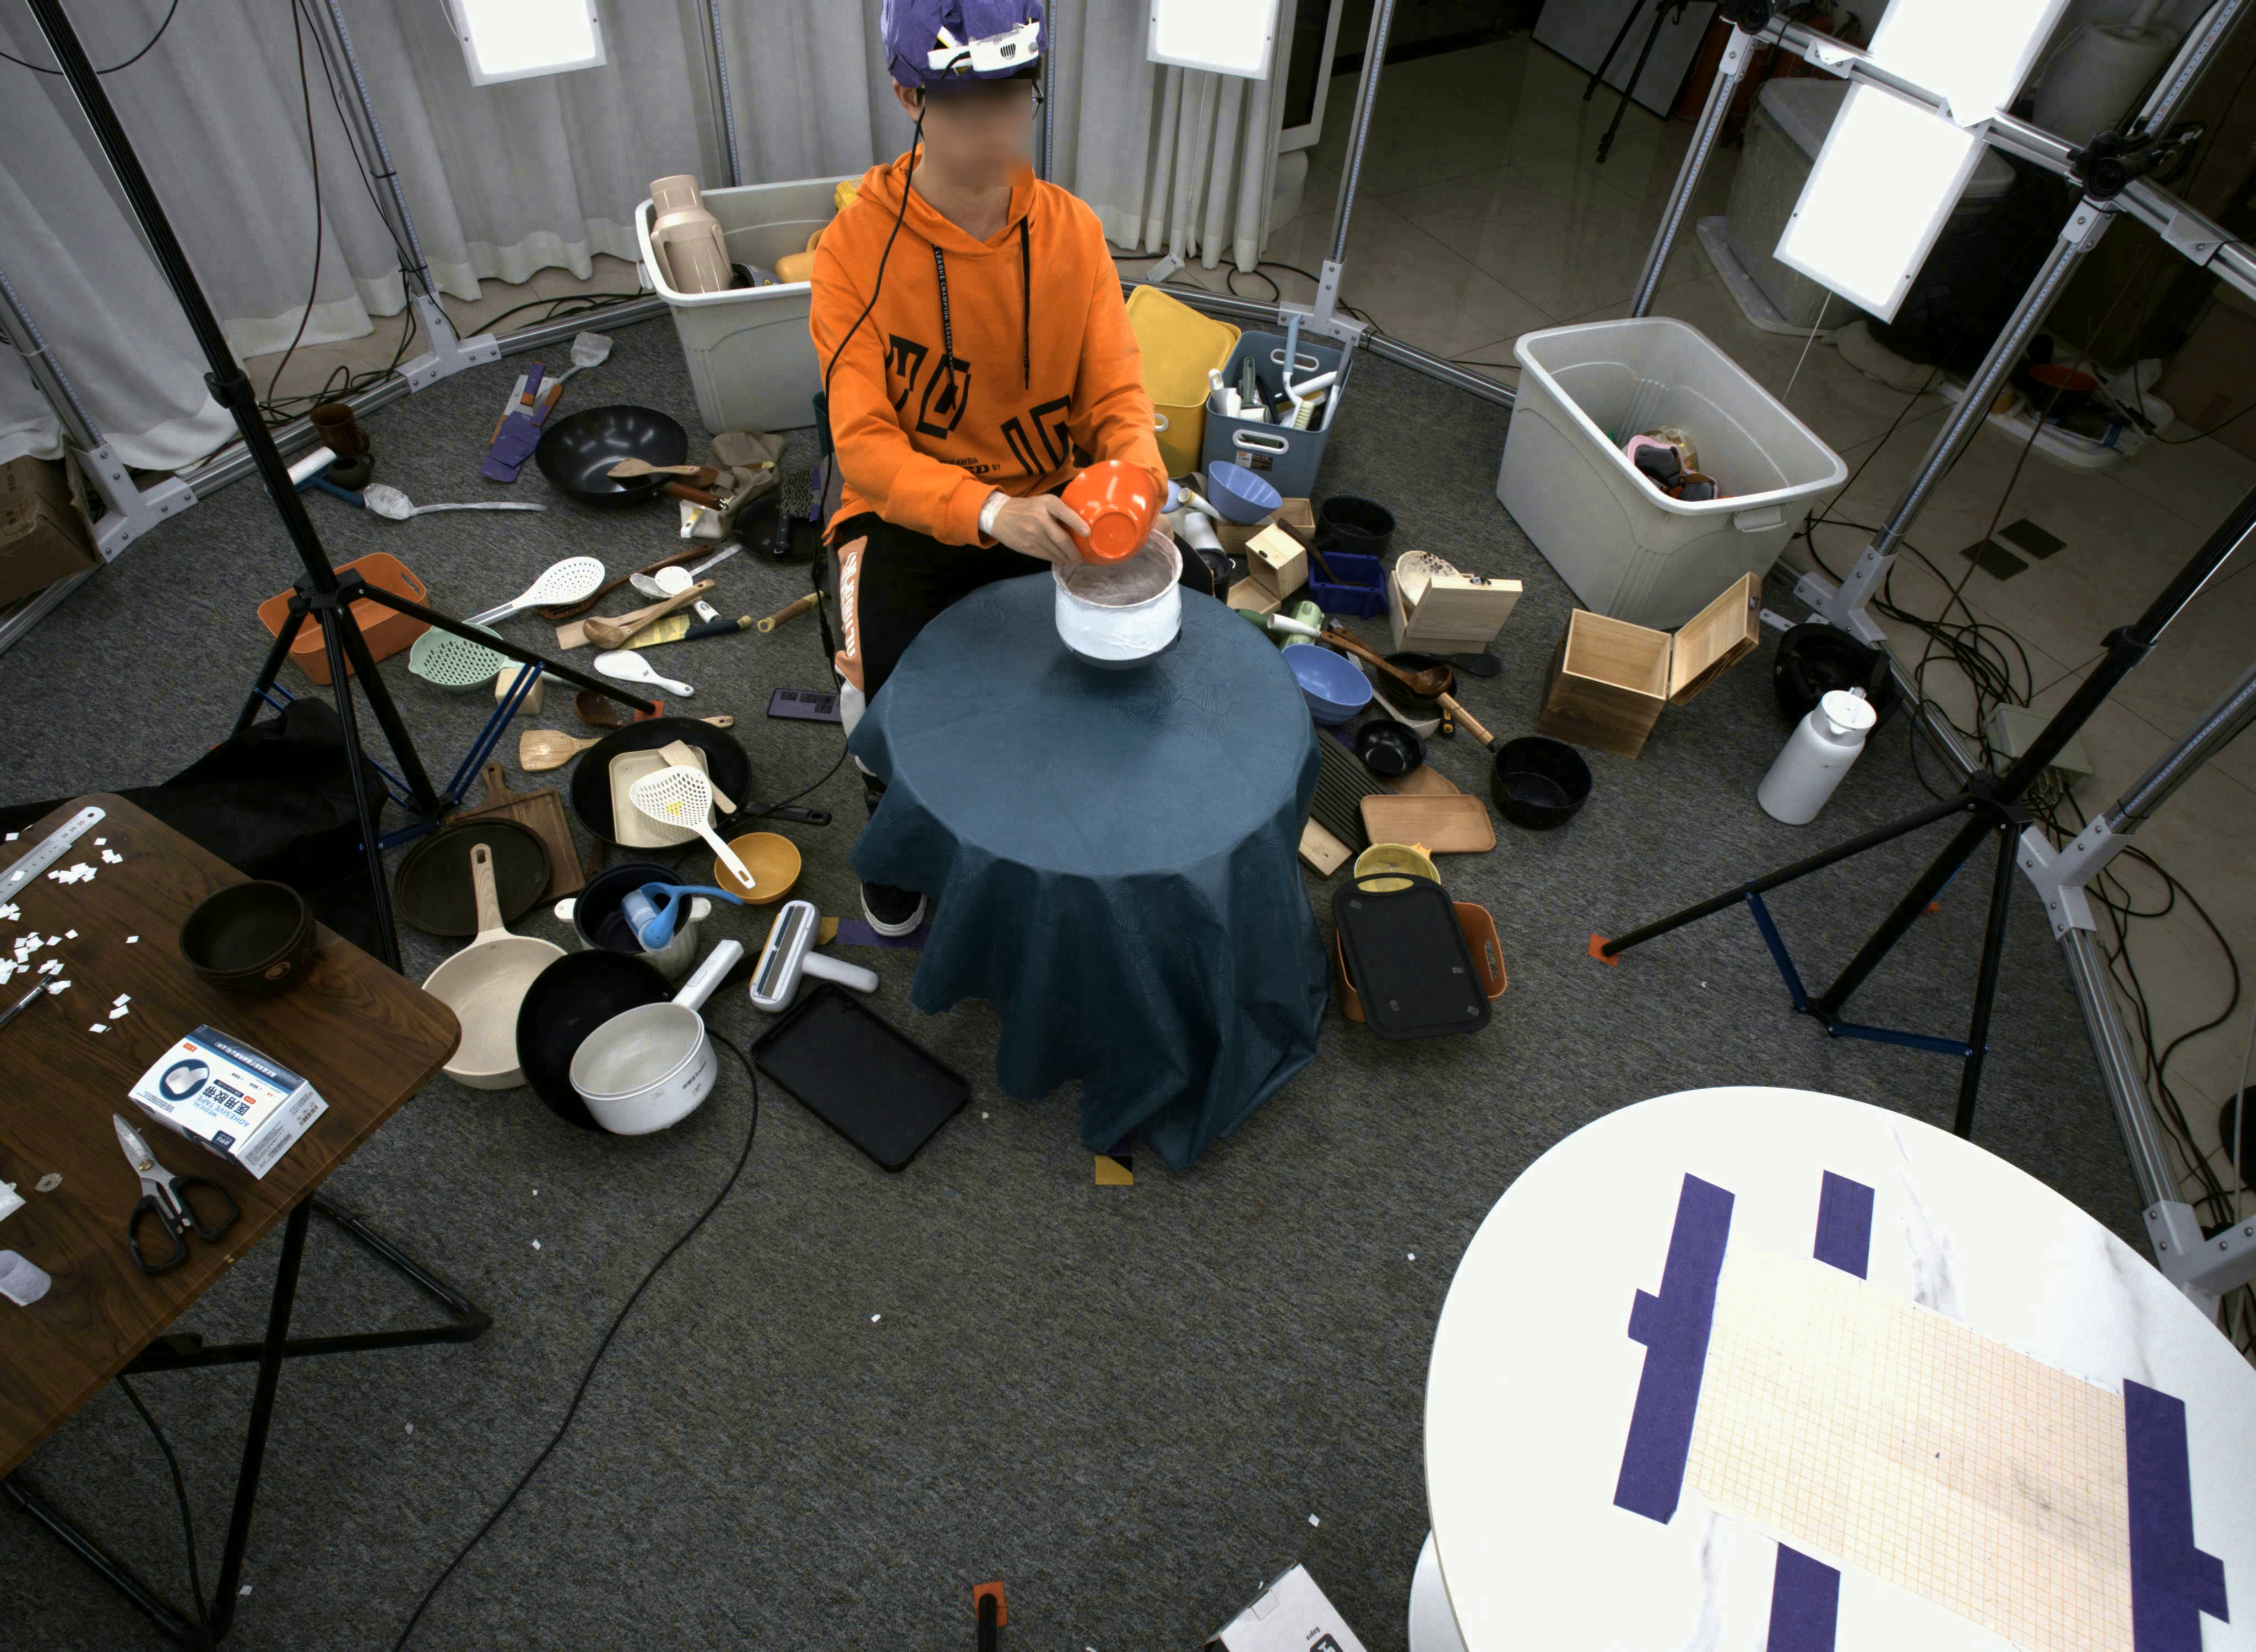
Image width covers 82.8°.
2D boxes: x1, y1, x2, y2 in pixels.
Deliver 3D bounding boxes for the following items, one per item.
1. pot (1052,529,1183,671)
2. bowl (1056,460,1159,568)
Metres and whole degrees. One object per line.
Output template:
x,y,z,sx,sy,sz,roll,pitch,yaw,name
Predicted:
-0.008,-0.336,1.803,0.179,0.133,0.239,9,51,8,pot
-0.018,-0.400,1.706,0.148,0.145,0.107,-7,32,-10,bowl
